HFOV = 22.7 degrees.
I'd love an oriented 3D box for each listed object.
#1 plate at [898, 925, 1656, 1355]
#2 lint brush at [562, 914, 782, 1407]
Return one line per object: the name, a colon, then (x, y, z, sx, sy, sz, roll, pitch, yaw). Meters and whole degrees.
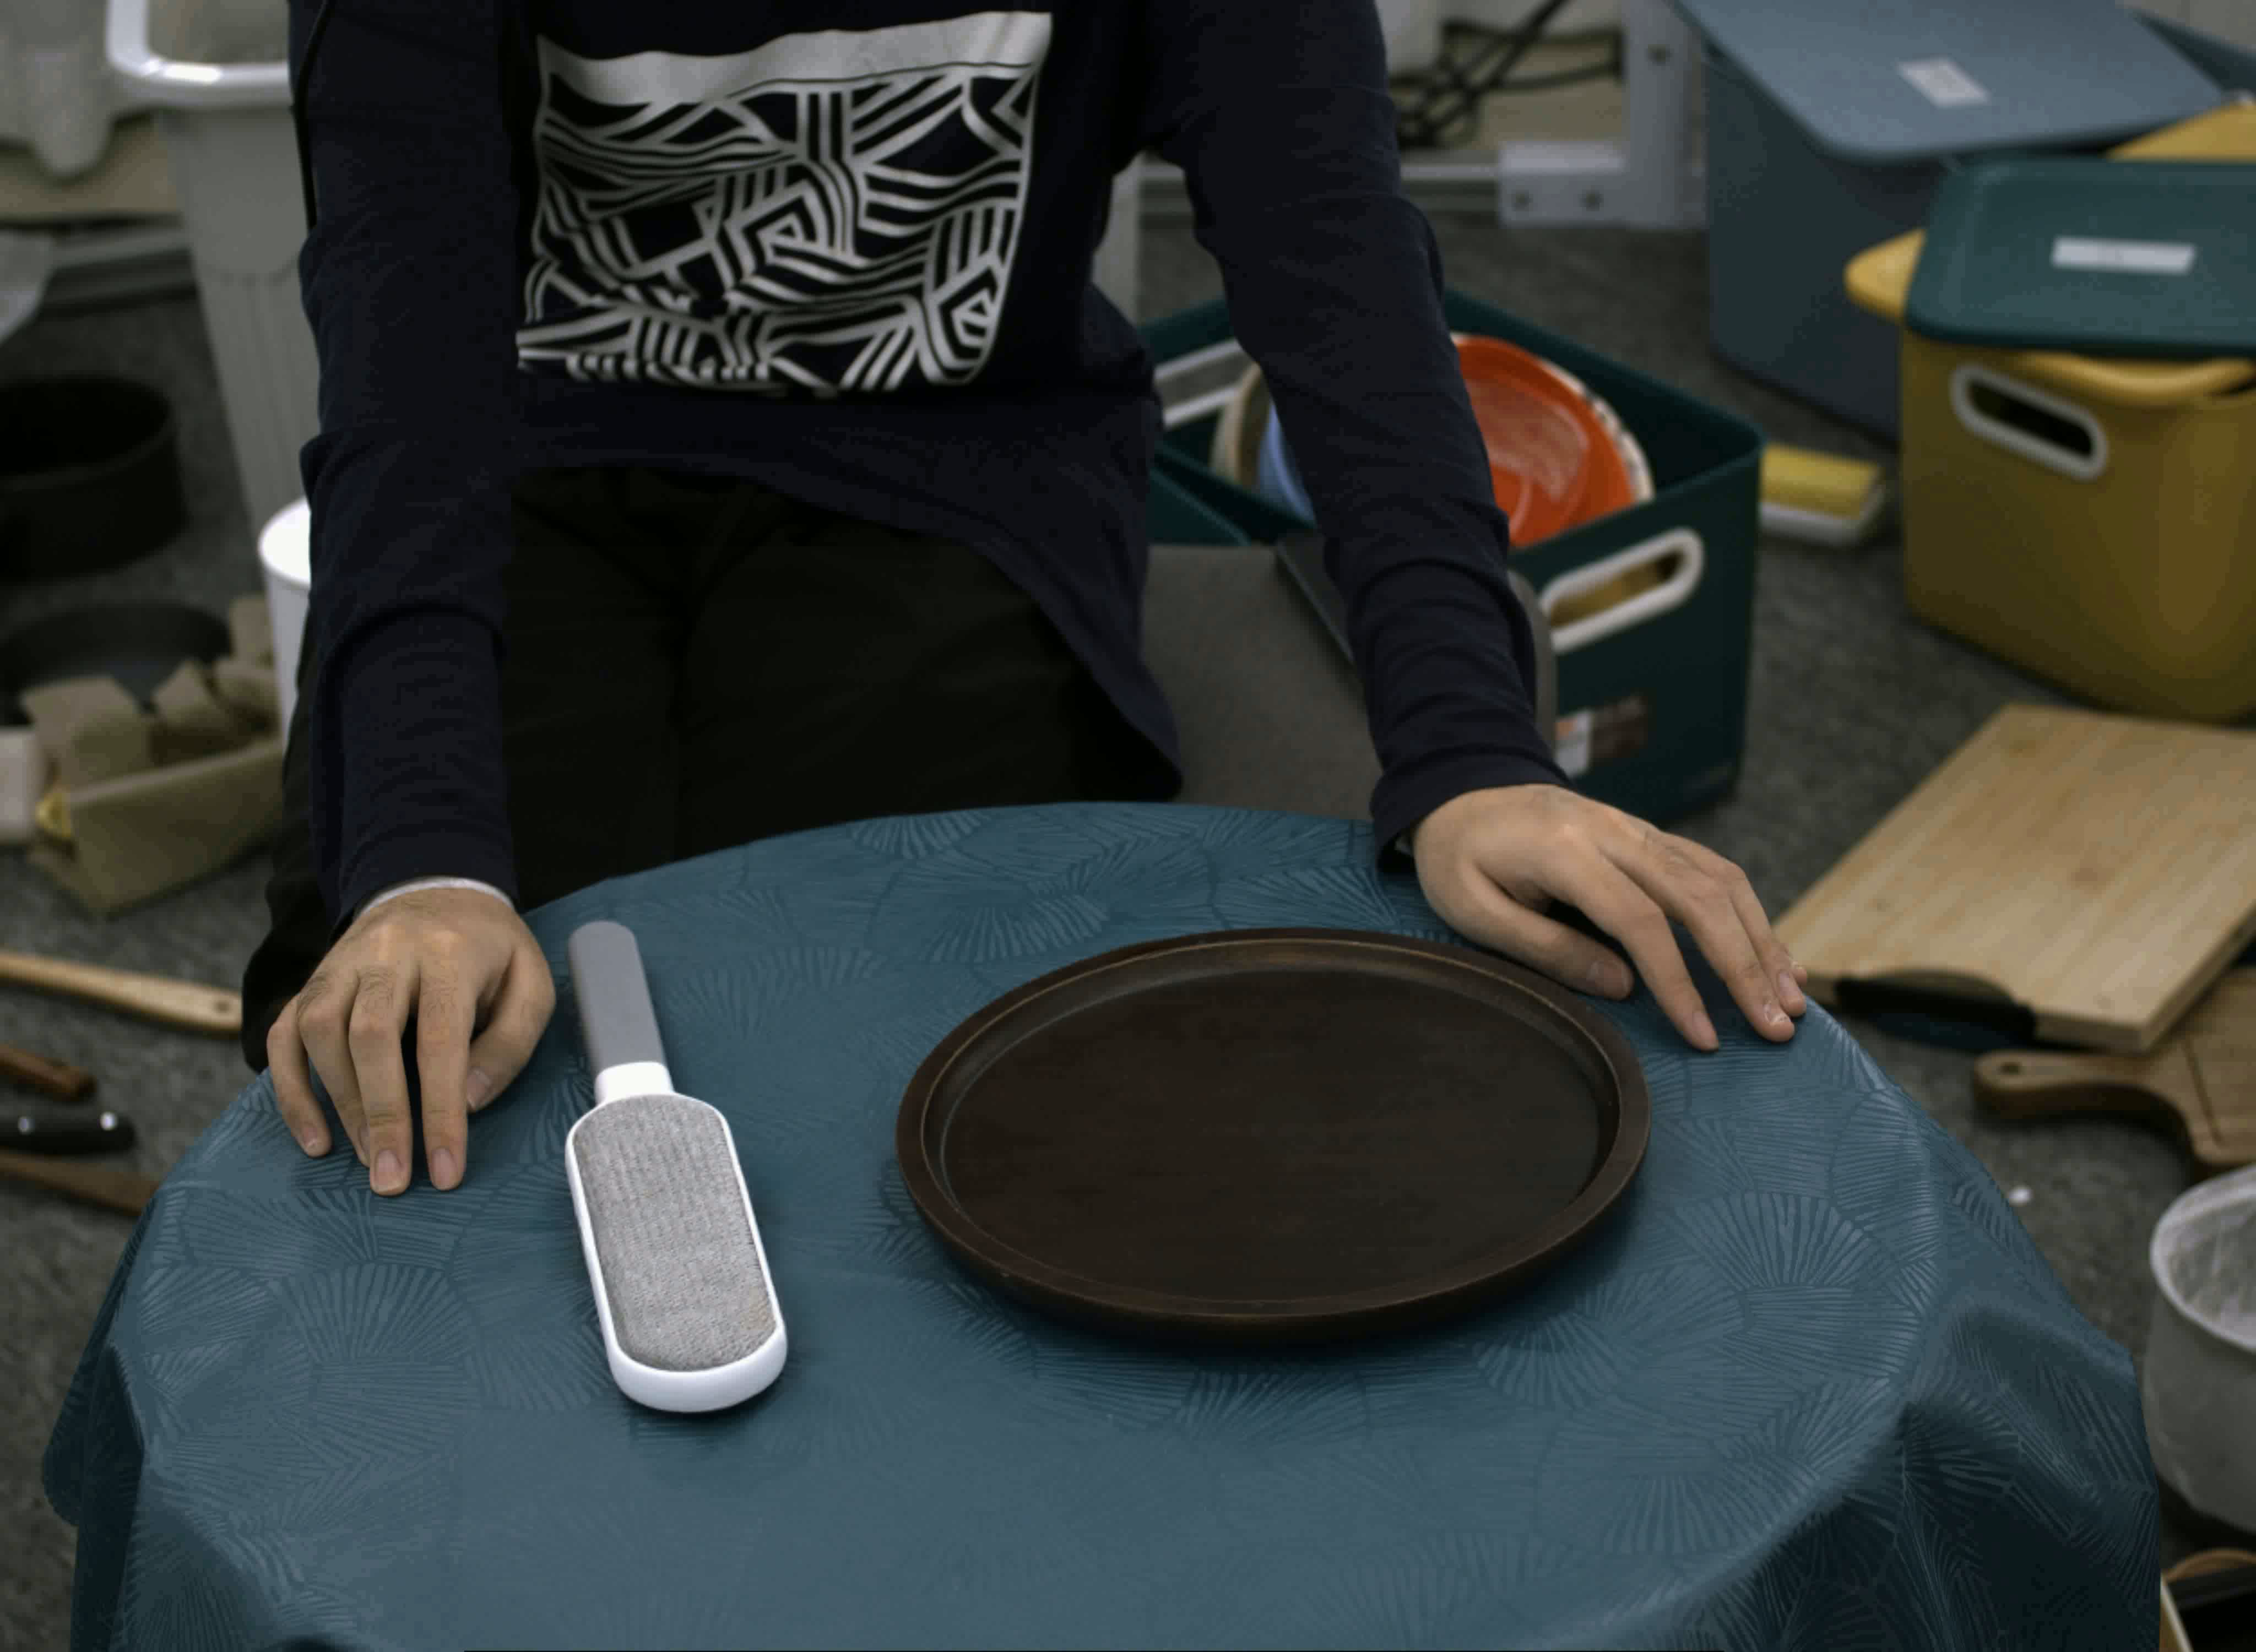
plate: (0.049, 0.102, 1.868, 0.253, 0.029, 0.259, -1, 28, 1)
lint brush: (-0.159, 0.106, 1.877, 0.060, 0.021, 0.312, -12, 28, -6)
